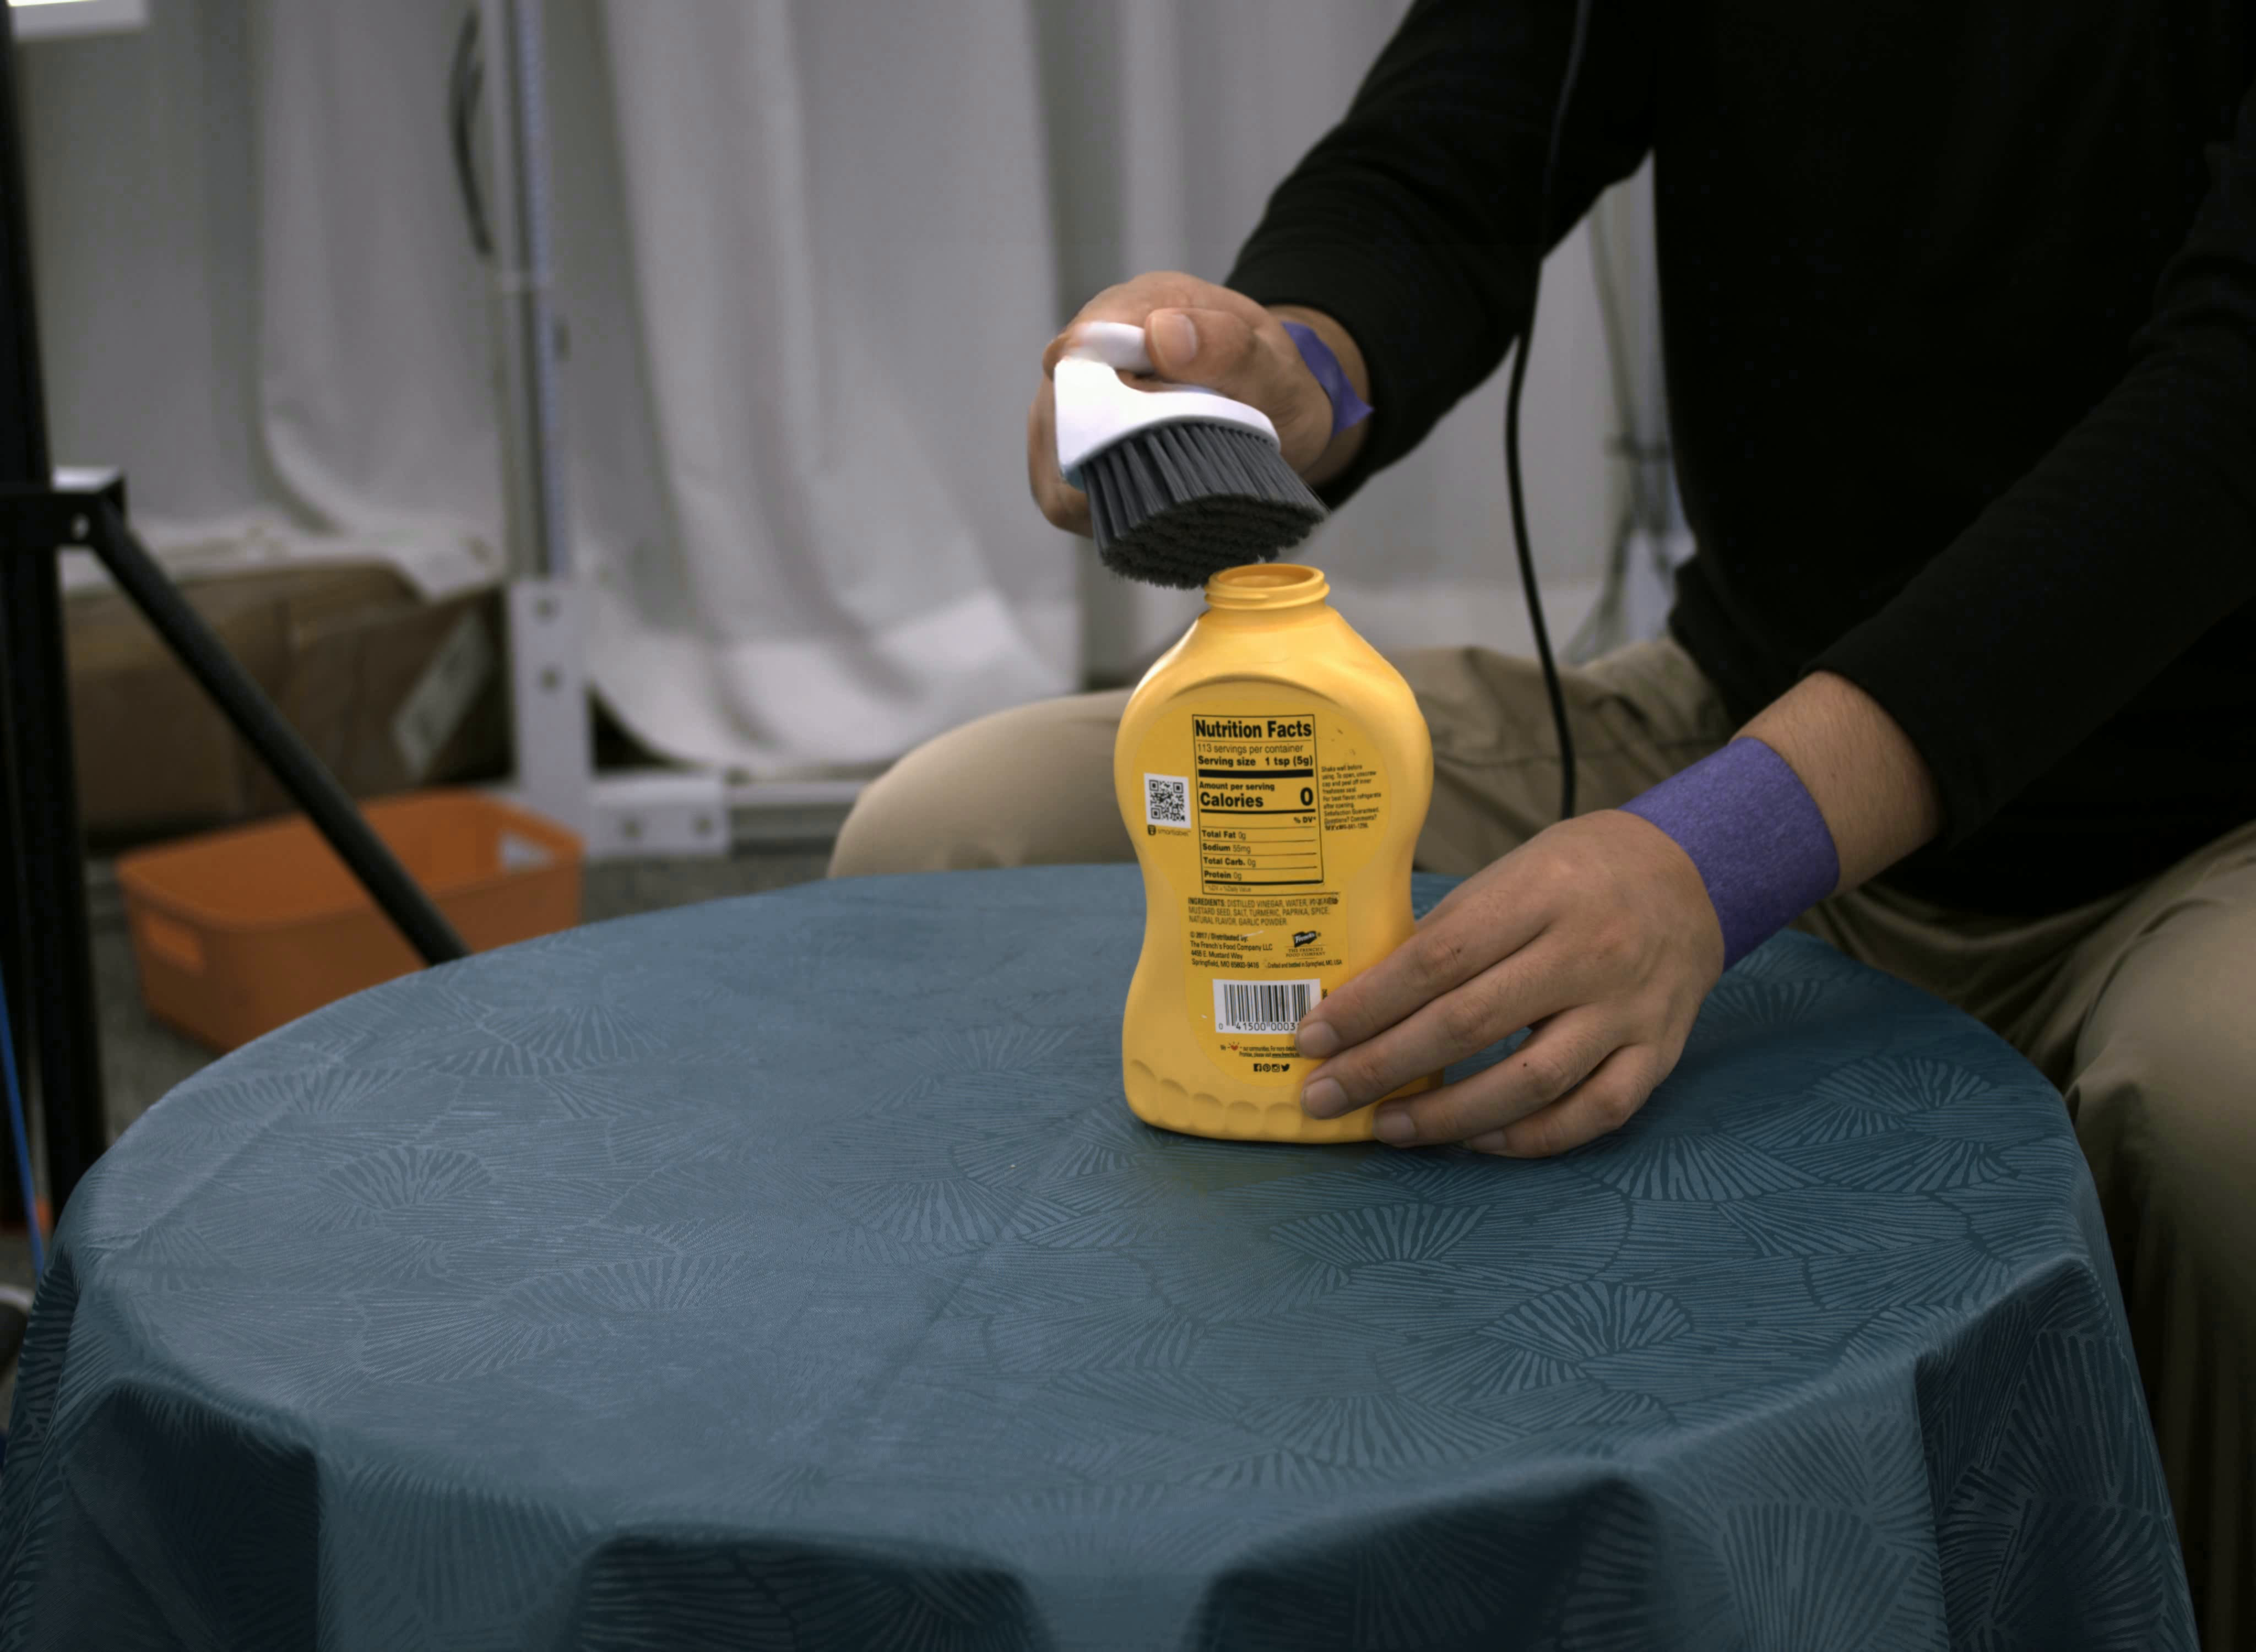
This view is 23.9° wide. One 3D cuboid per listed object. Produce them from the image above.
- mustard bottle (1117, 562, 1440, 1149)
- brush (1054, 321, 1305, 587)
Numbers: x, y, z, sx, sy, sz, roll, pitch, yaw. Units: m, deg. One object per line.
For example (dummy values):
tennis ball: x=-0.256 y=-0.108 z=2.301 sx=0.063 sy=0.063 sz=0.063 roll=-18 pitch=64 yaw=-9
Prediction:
mustard bottle: x=0.044 y=0.008 z=1.596 sx=0.099 sy=0.172 sz=0.059 roll=1 pitch=13 yaw=17
brush: x=0.009 y=-0.116 z=1.598 sx=0.051 sy=0.073 sz=0.097 roll=-27 pitch=-13 yaw=22
